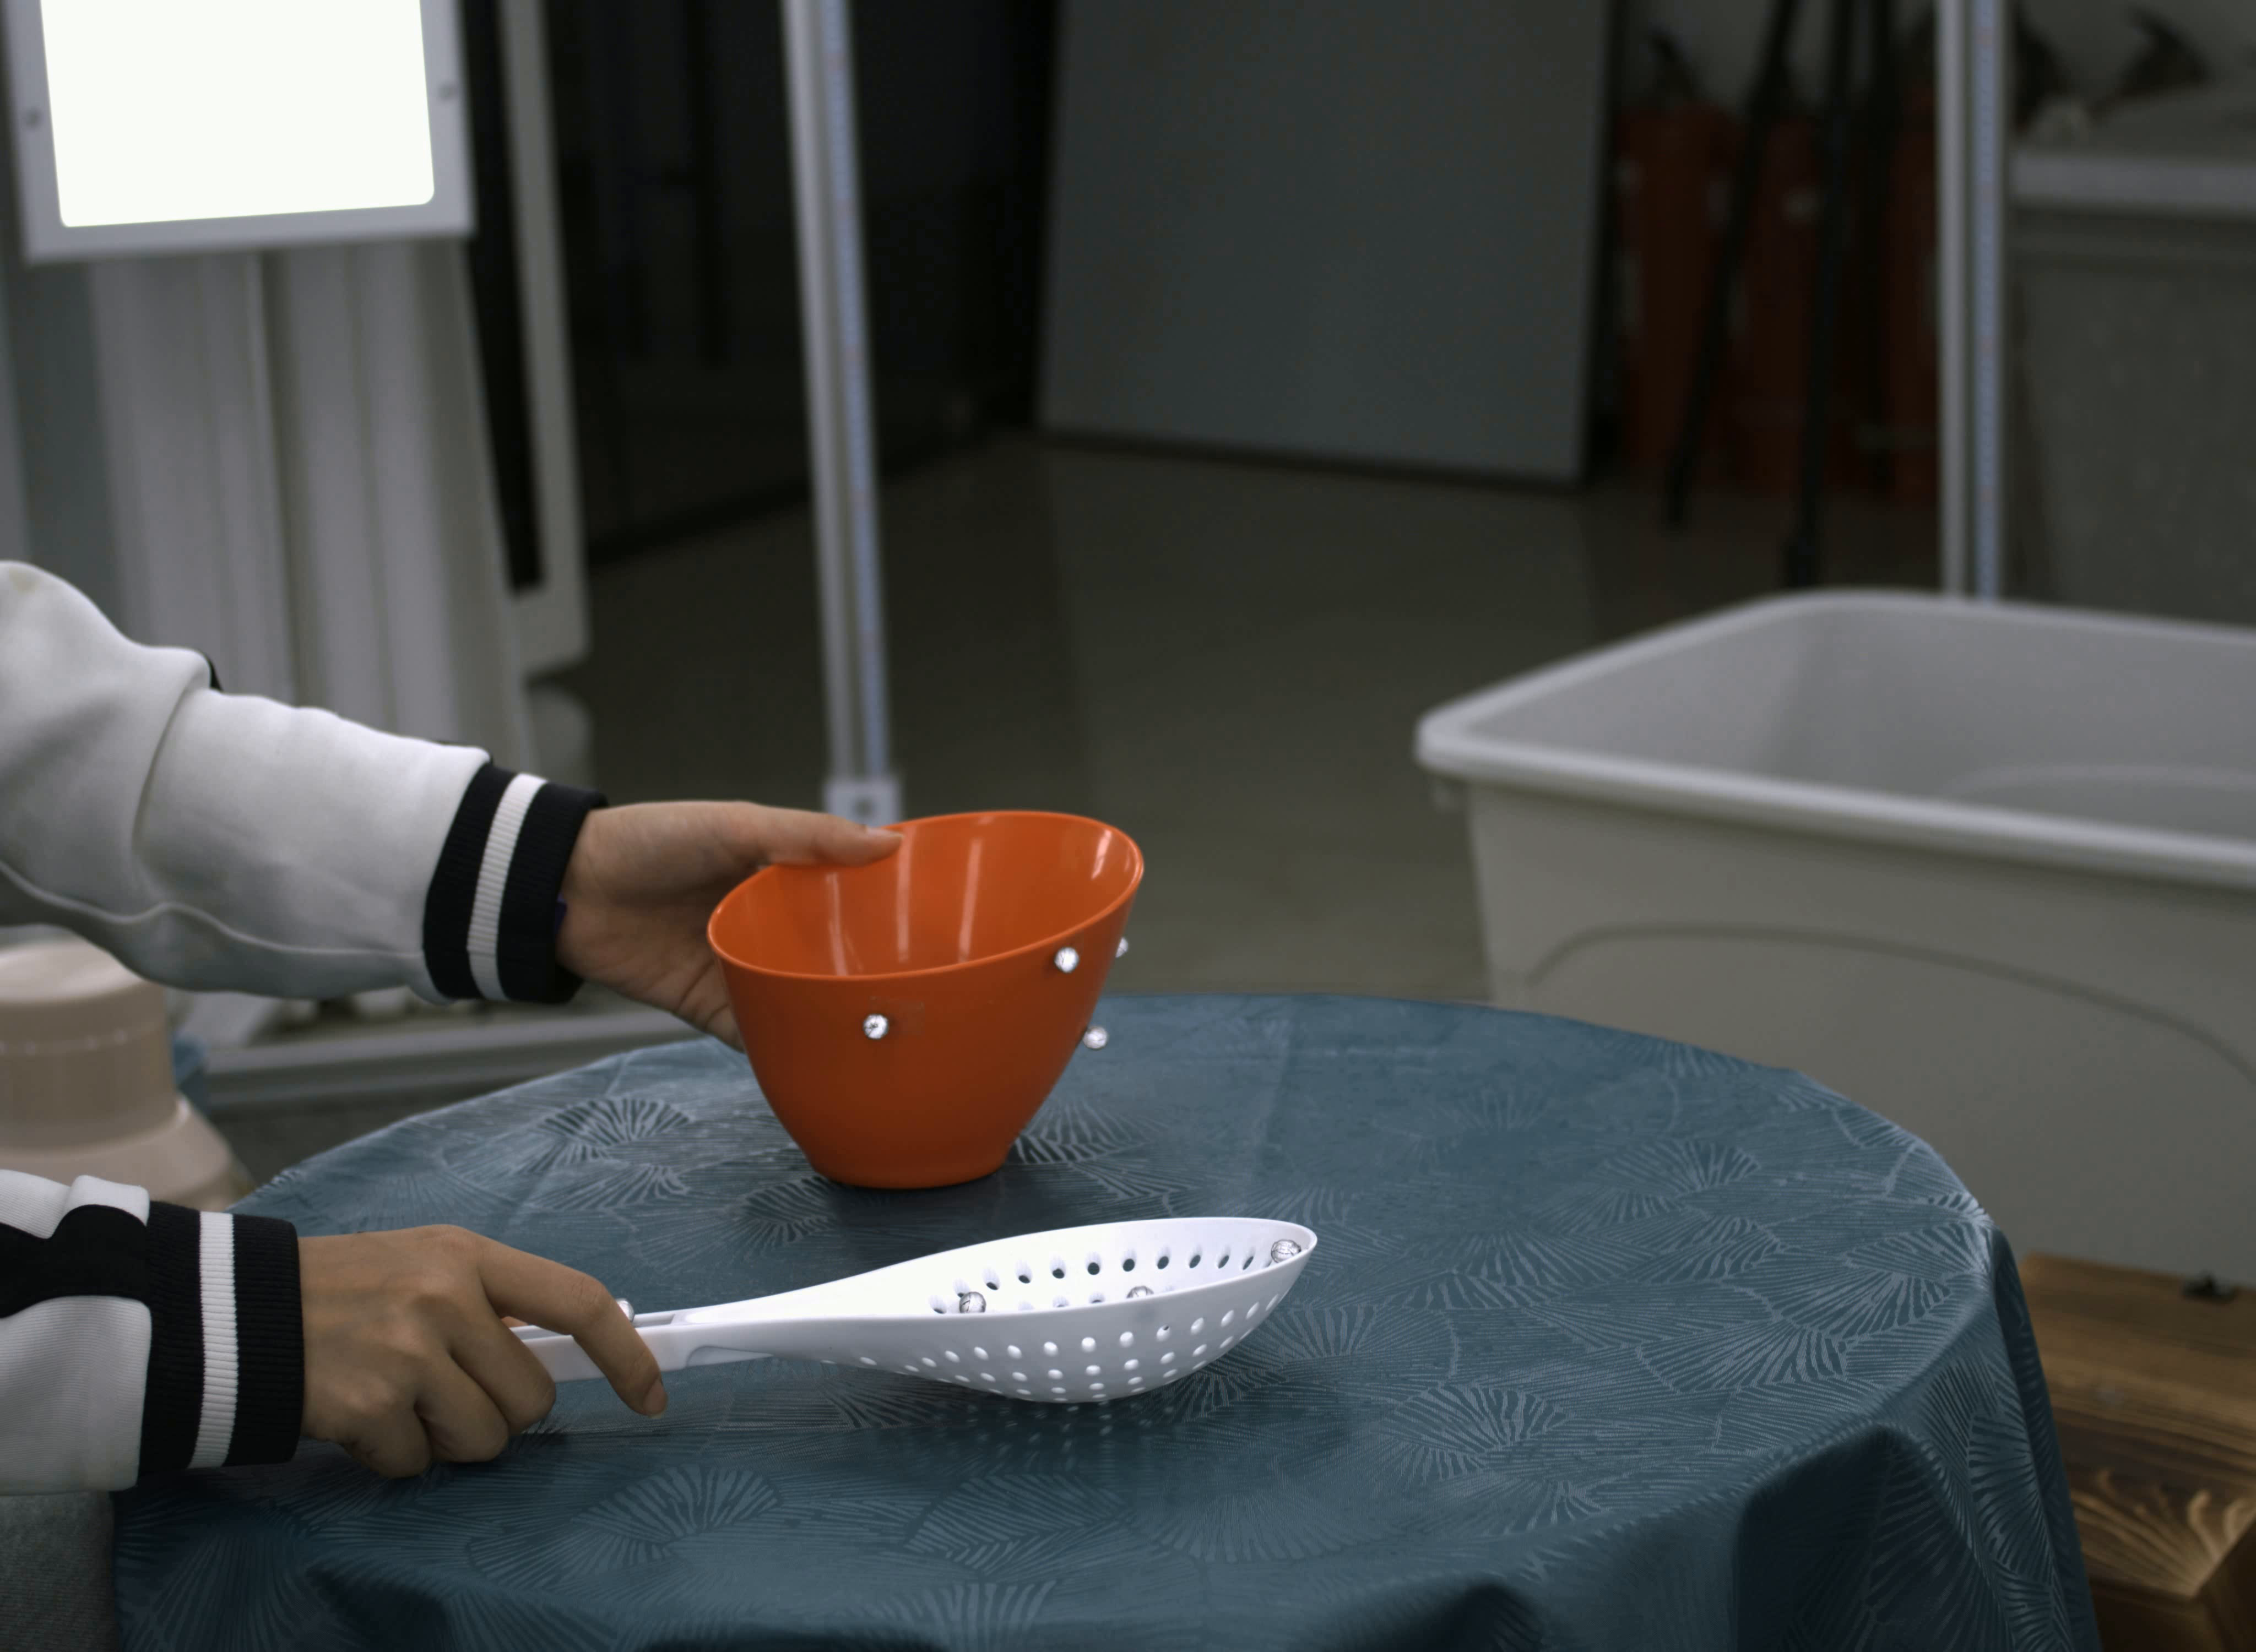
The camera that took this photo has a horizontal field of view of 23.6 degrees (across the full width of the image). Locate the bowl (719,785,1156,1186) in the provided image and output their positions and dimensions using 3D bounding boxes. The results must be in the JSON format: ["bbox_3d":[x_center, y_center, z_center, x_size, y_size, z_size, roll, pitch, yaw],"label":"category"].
[{"bbox_3d":[-0.063,0.057,1.809,0.146,0.106,0.148,0,20,-1],"label":"bowl"}]

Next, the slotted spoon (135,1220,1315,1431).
[{"bbox_3d":[-0.117,0.148,1.580,0.345,0.046,0.136,-2,5,3],"label":"slotted spoon"}]
